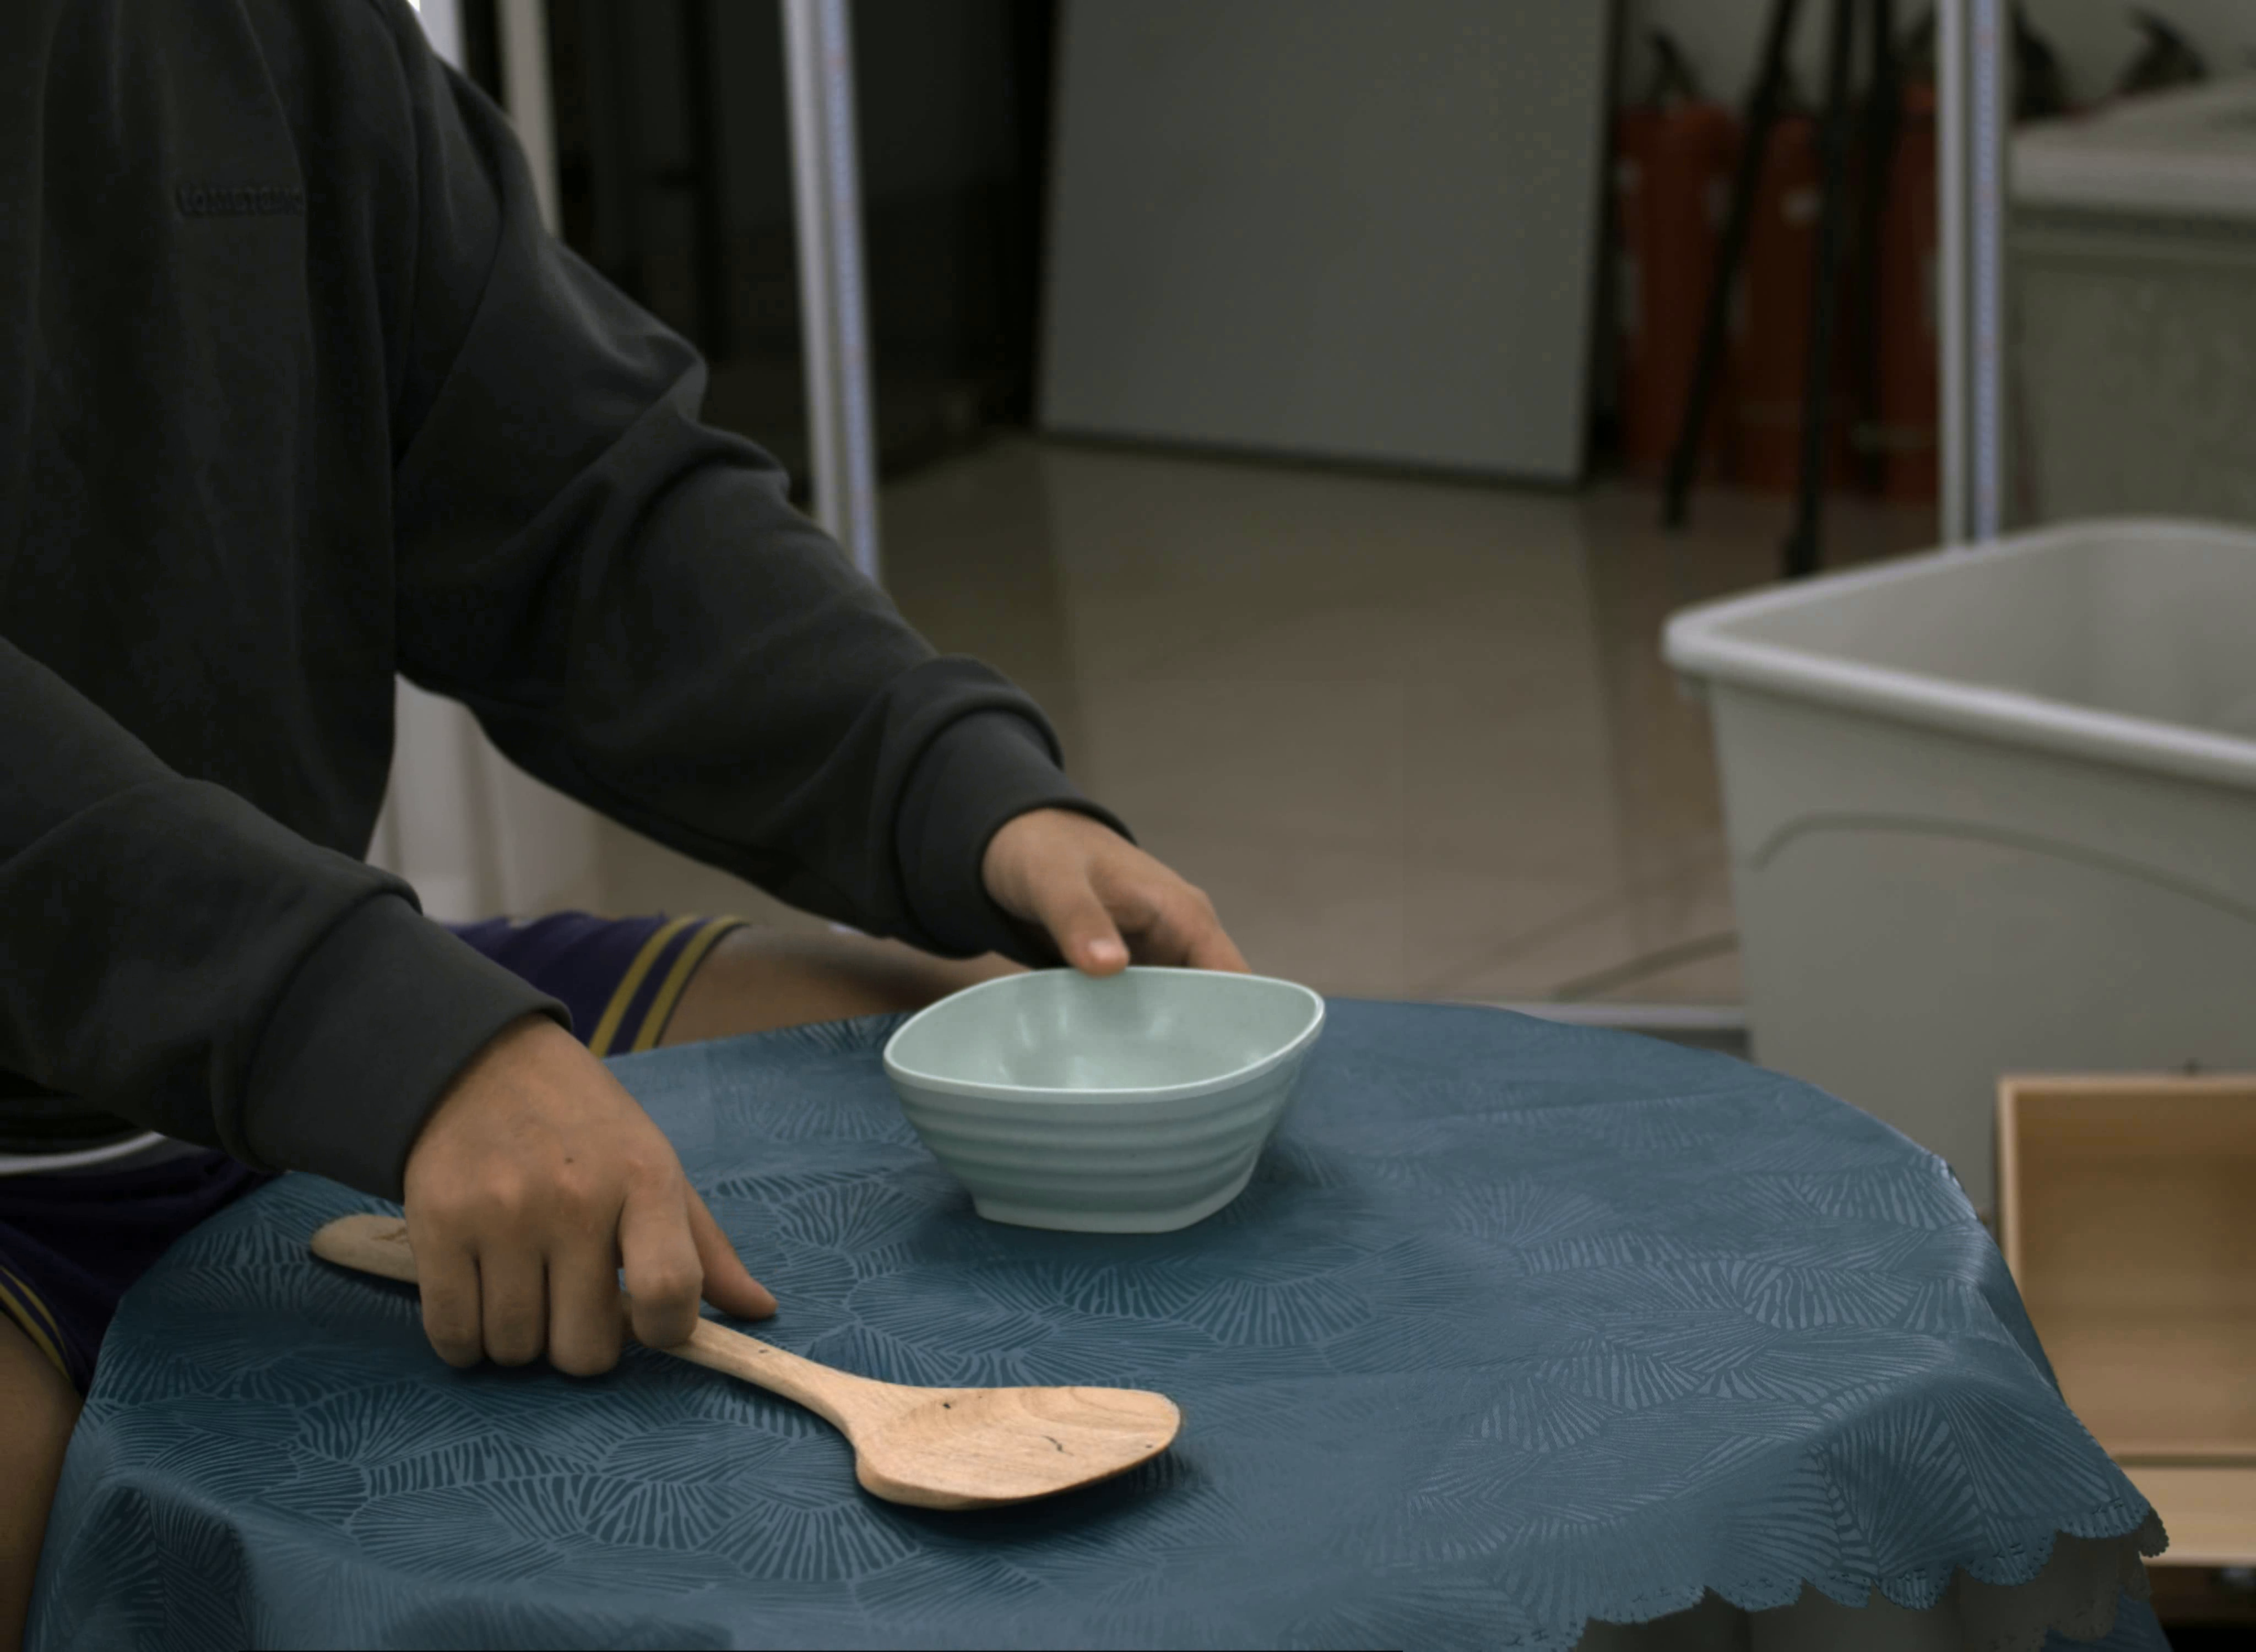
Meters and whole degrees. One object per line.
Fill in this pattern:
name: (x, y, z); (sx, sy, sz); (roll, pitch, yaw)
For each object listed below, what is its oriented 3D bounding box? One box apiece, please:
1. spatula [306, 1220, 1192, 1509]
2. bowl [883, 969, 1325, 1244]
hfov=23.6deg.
spatula: (-0.135, 0.157, 1.625); (0.094, 0.018, 0.394); (-14, 17, -40)
bowl: (-0.006, 0.094, 1.763); (0.149, 0.059, 0.152); (-2, 14, 0)
